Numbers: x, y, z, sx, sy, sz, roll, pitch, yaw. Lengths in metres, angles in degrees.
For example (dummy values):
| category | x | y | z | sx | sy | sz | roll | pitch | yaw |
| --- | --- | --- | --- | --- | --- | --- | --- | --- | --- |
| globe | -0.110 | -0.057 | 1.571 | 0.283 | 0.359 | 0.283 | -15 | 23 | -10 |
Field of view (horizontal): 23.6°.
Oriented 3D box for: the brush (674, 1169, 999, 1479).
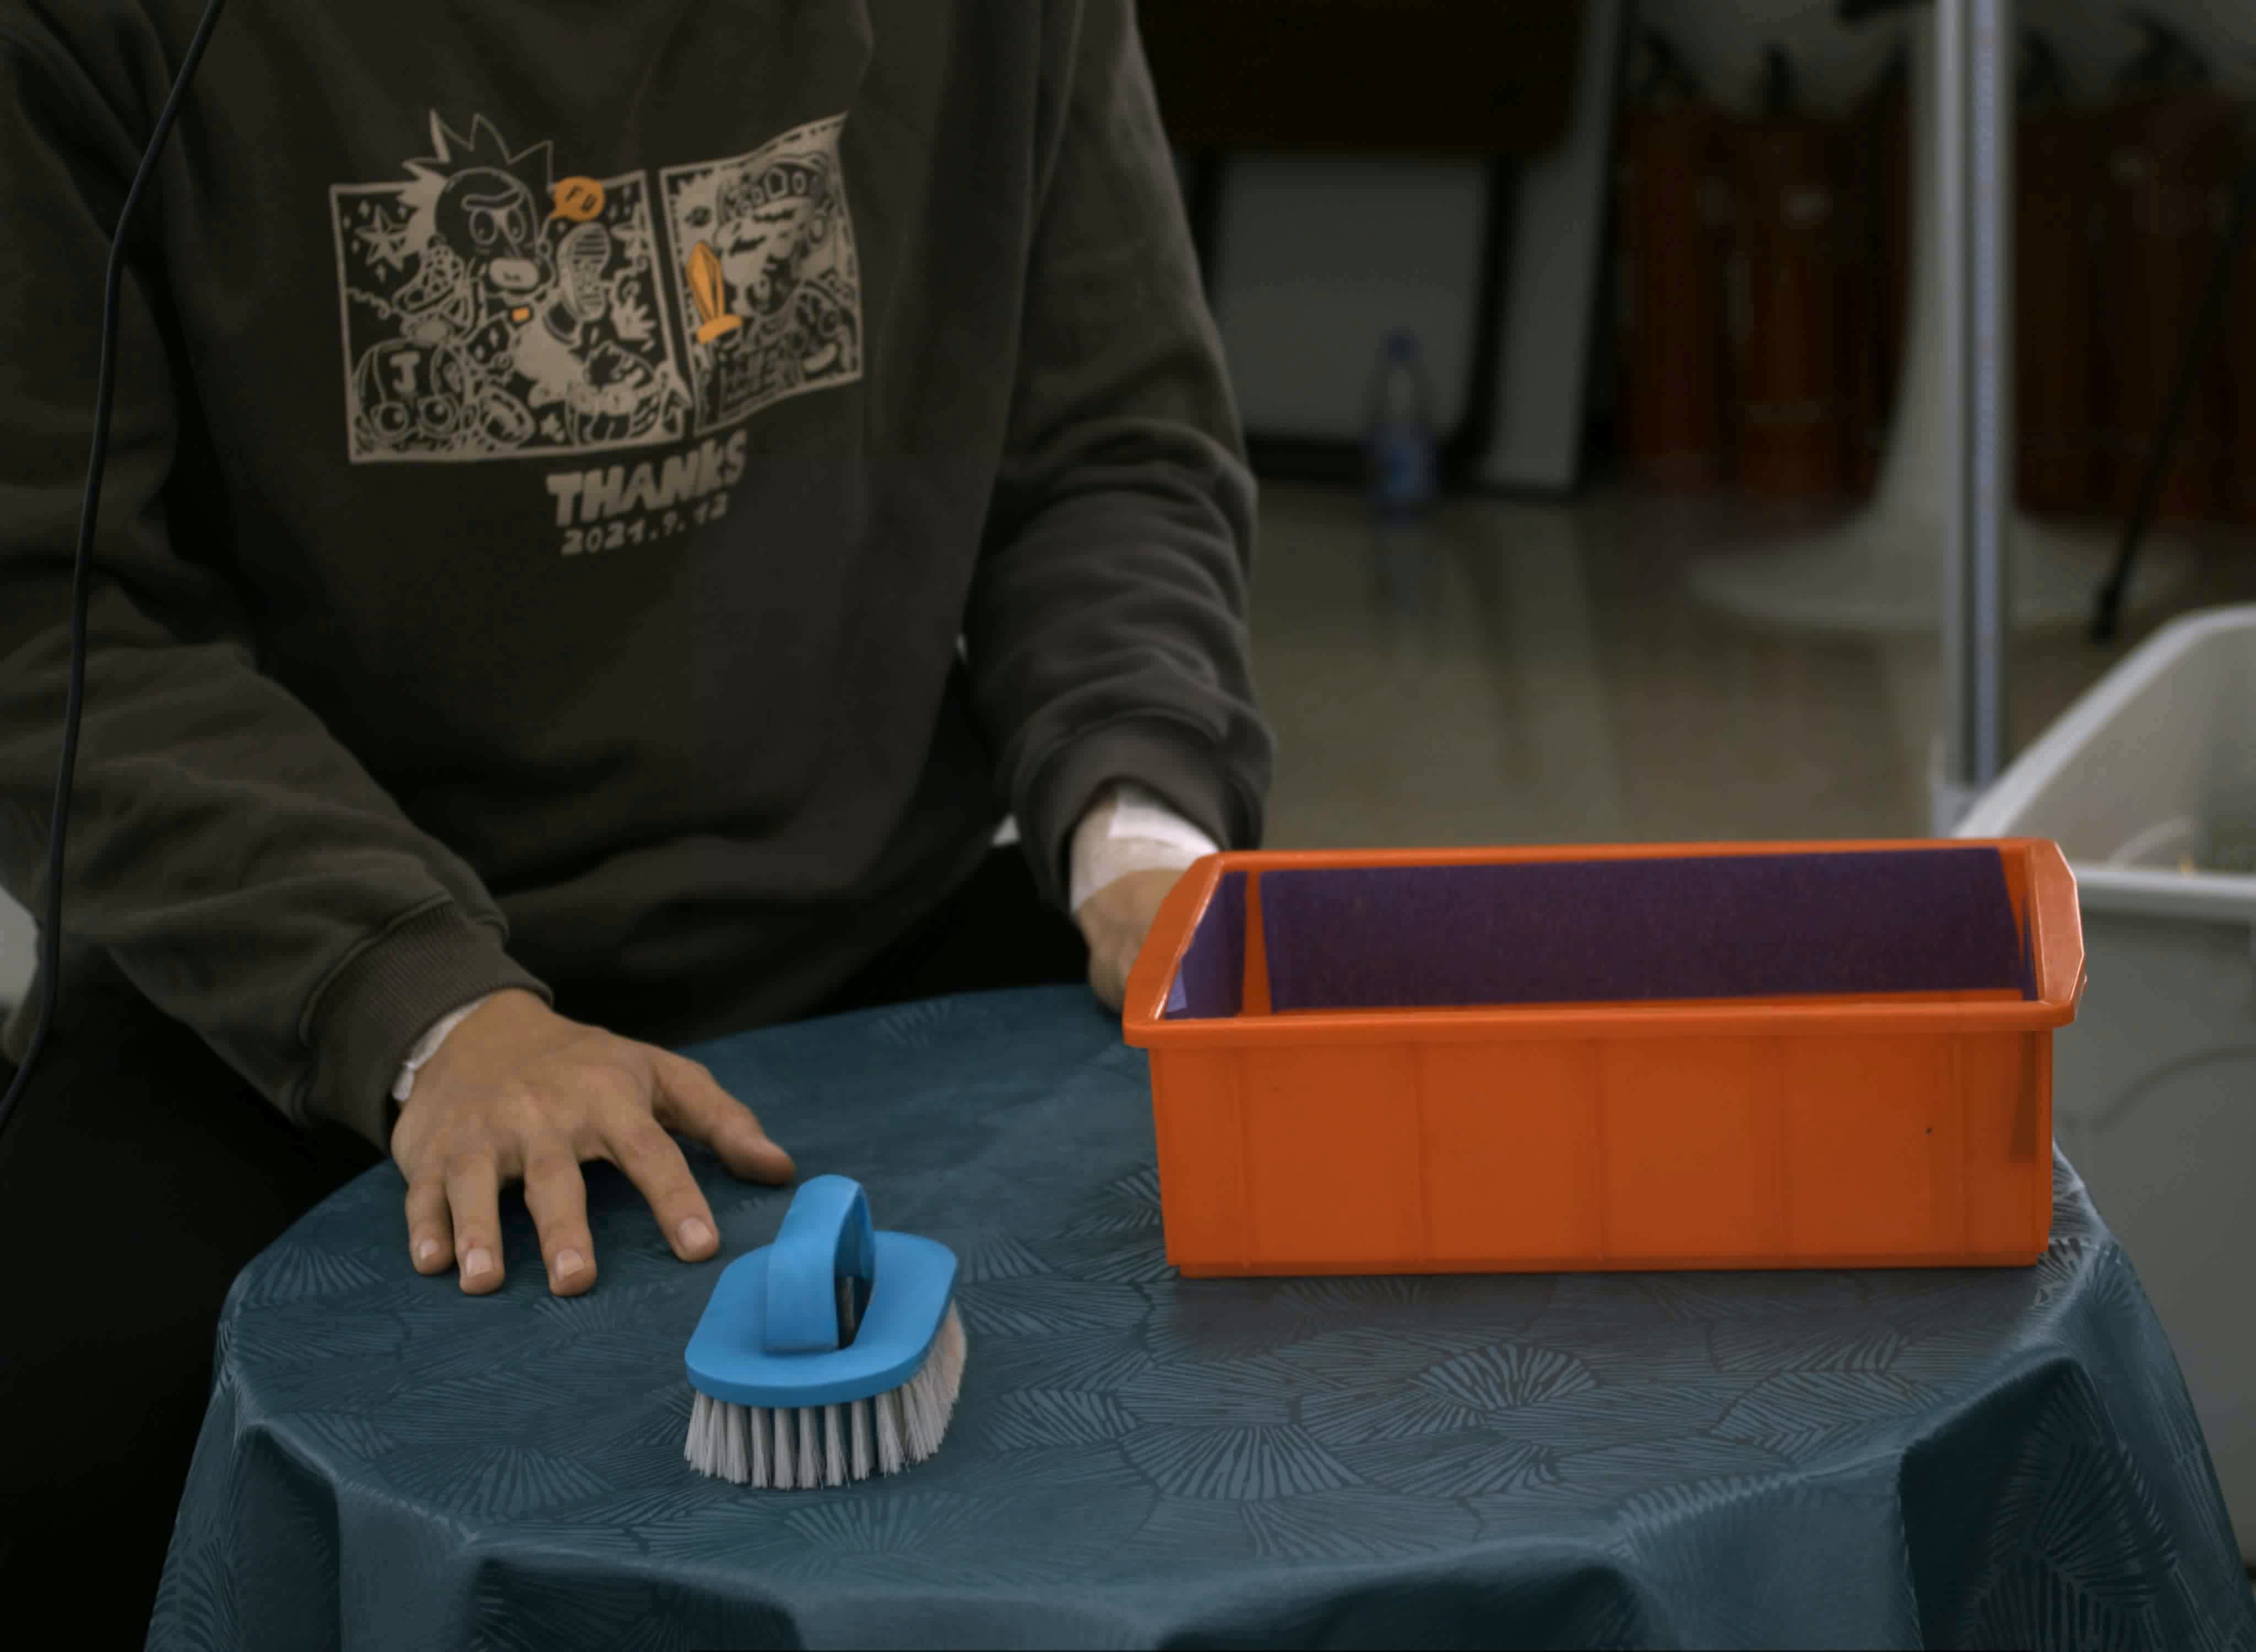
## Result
| category | x | y | z | sx | sy | sz | roll | pitch | yaw |
| --- | --- | --- | --- | --- | --- | --- | --- | --- | --- |
| brush | -0.087 | 0.140 | 1.585 | 0.084 | 0.064 | 0.141 | -6 | 12 | 9 |

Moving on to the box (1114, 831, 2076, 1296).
| category | x | y | z | sx | sy | sz | roll | pitch | yaw |
| --- | --- | --- | --- | --- | --- | --- | --- | --- | --- |
| box | 0.154 | 0.076 | 1.736 | 0.301 | 0.097 | 0.205 | -1 | 14 | 10 |
